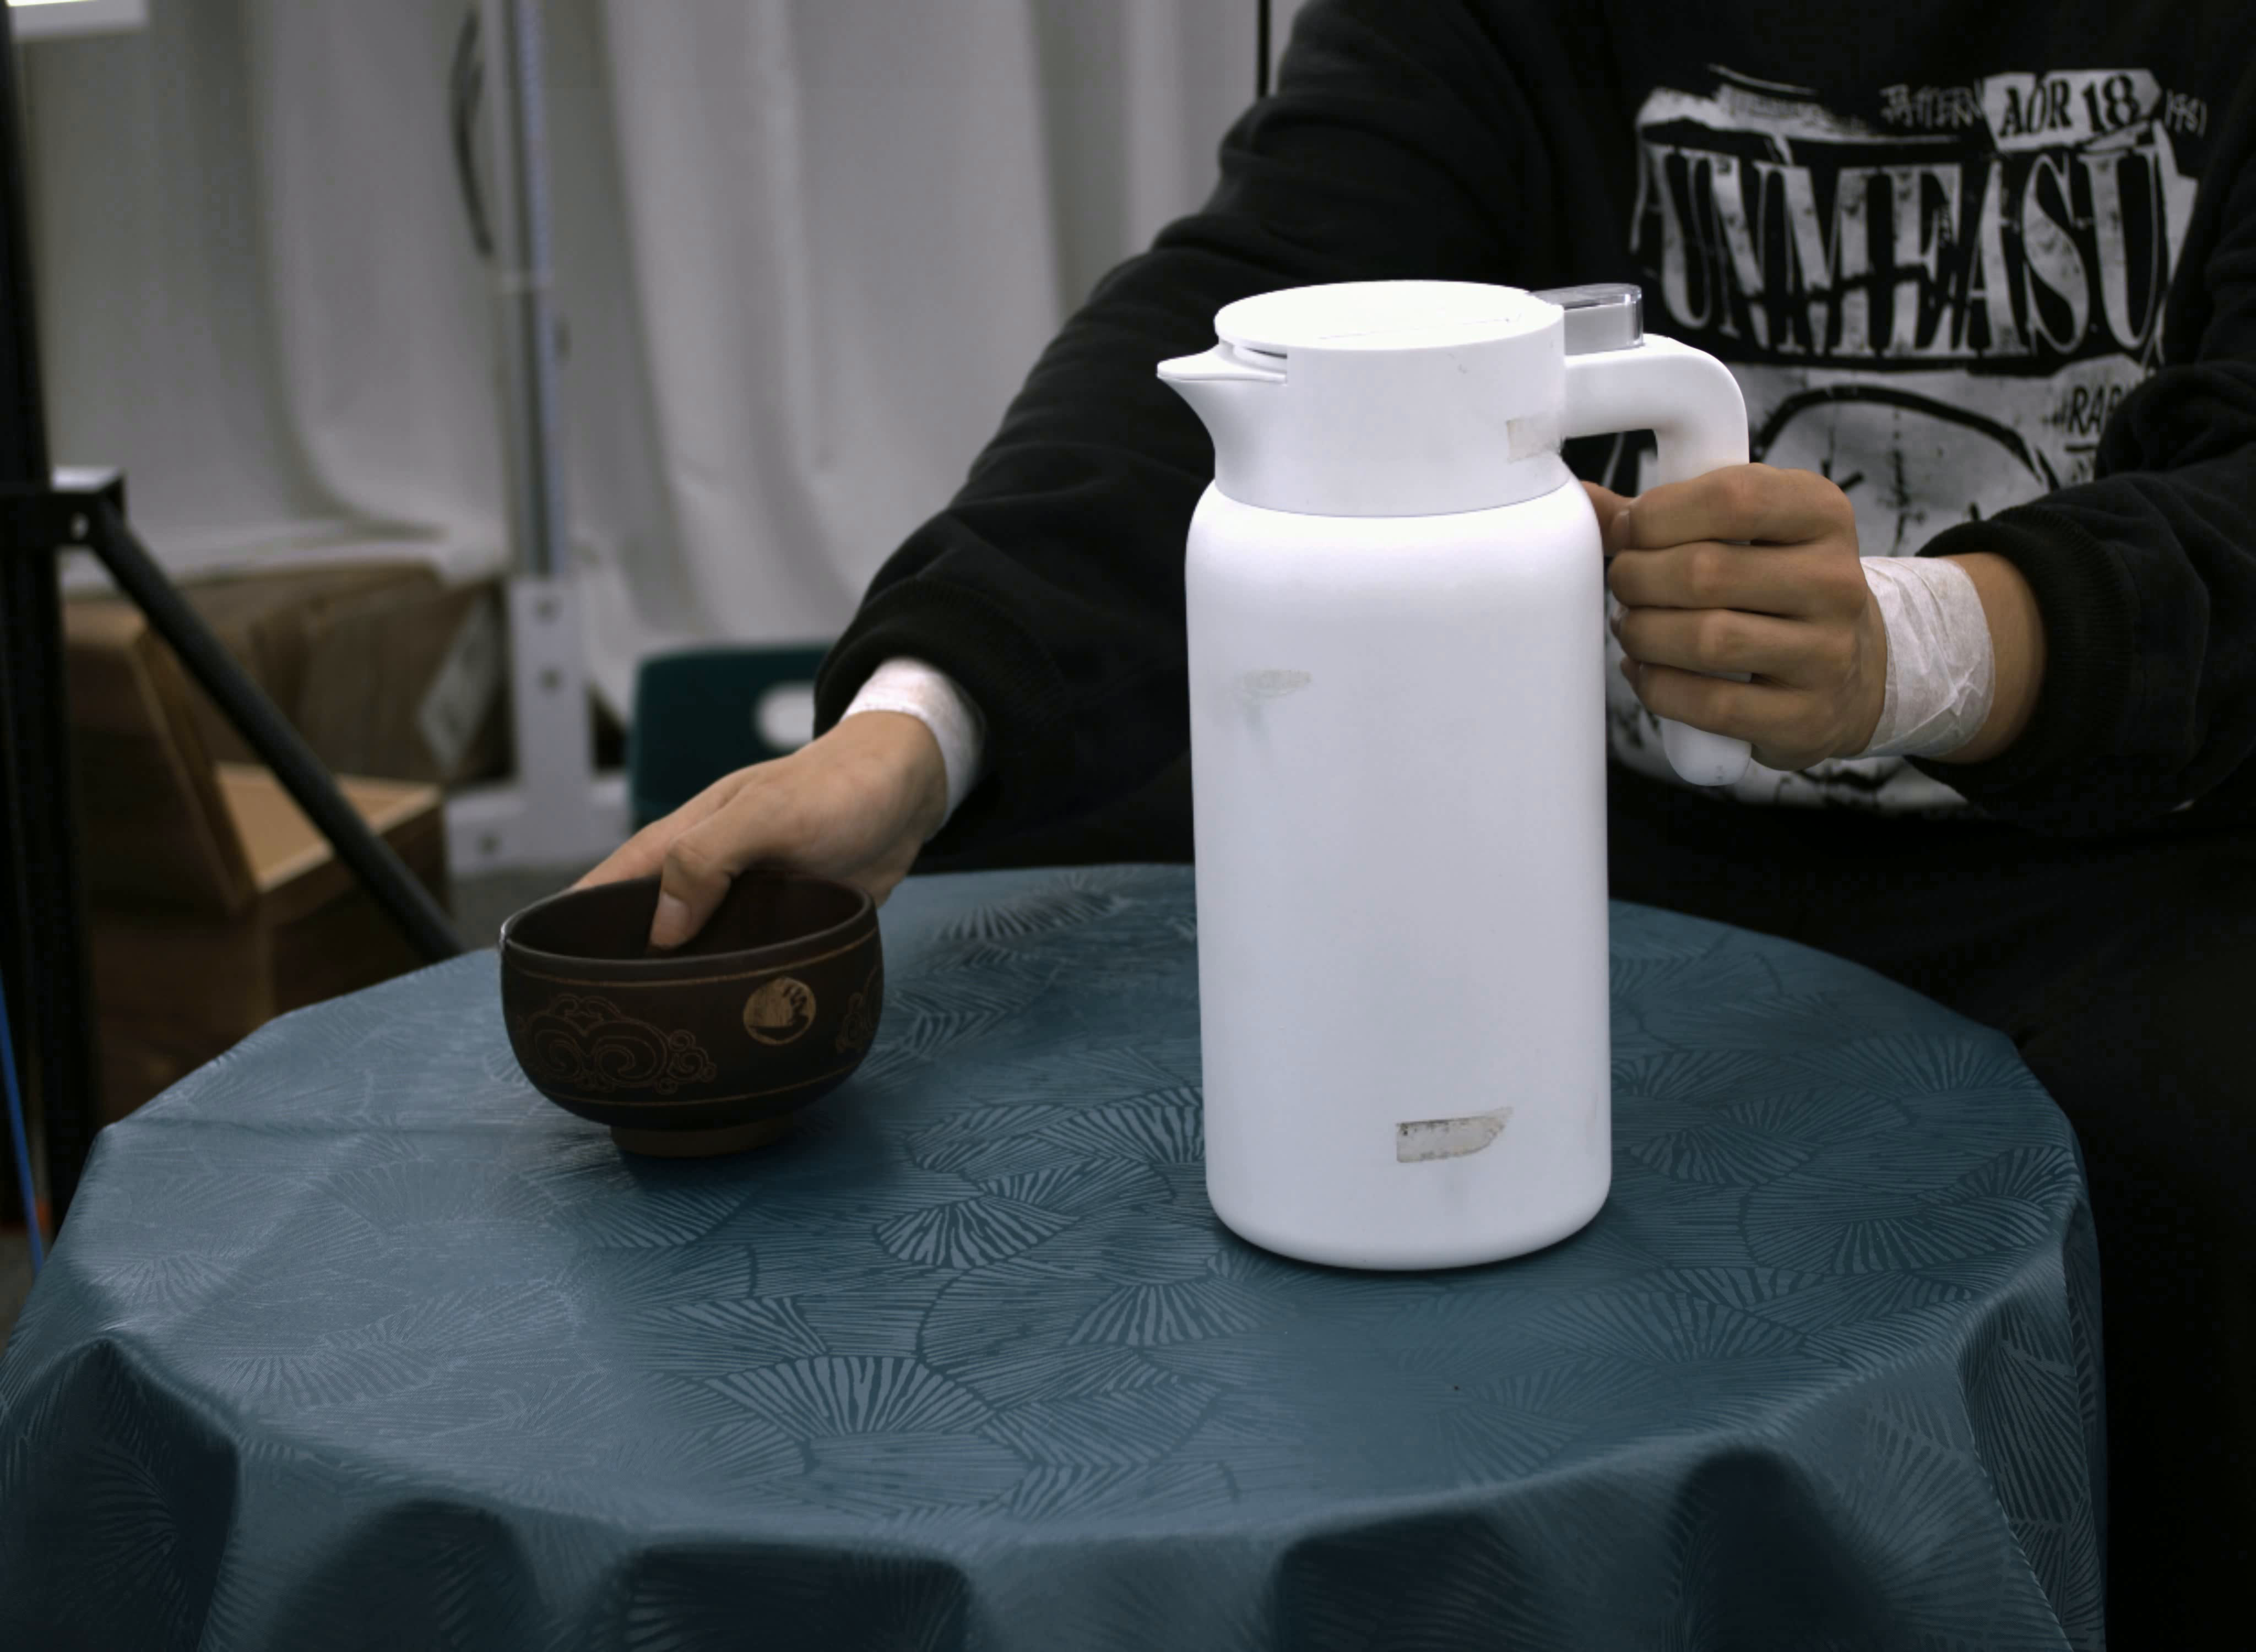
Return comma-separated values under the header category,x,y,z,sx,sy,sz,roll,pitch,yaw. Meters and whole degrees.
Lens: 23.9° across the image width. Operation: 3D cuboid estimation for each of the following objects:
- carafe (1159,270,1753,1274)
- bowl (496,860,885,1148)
category,x,y,z,sx,sy,sz,roll,pitch,yaw
carafe,0.093,-0.018,1.498,0.170,0.269,0.126,-7,14,-18
bowl,-0.131,0.057,1.615,0.117,0.070,0.118,-4,12,0
